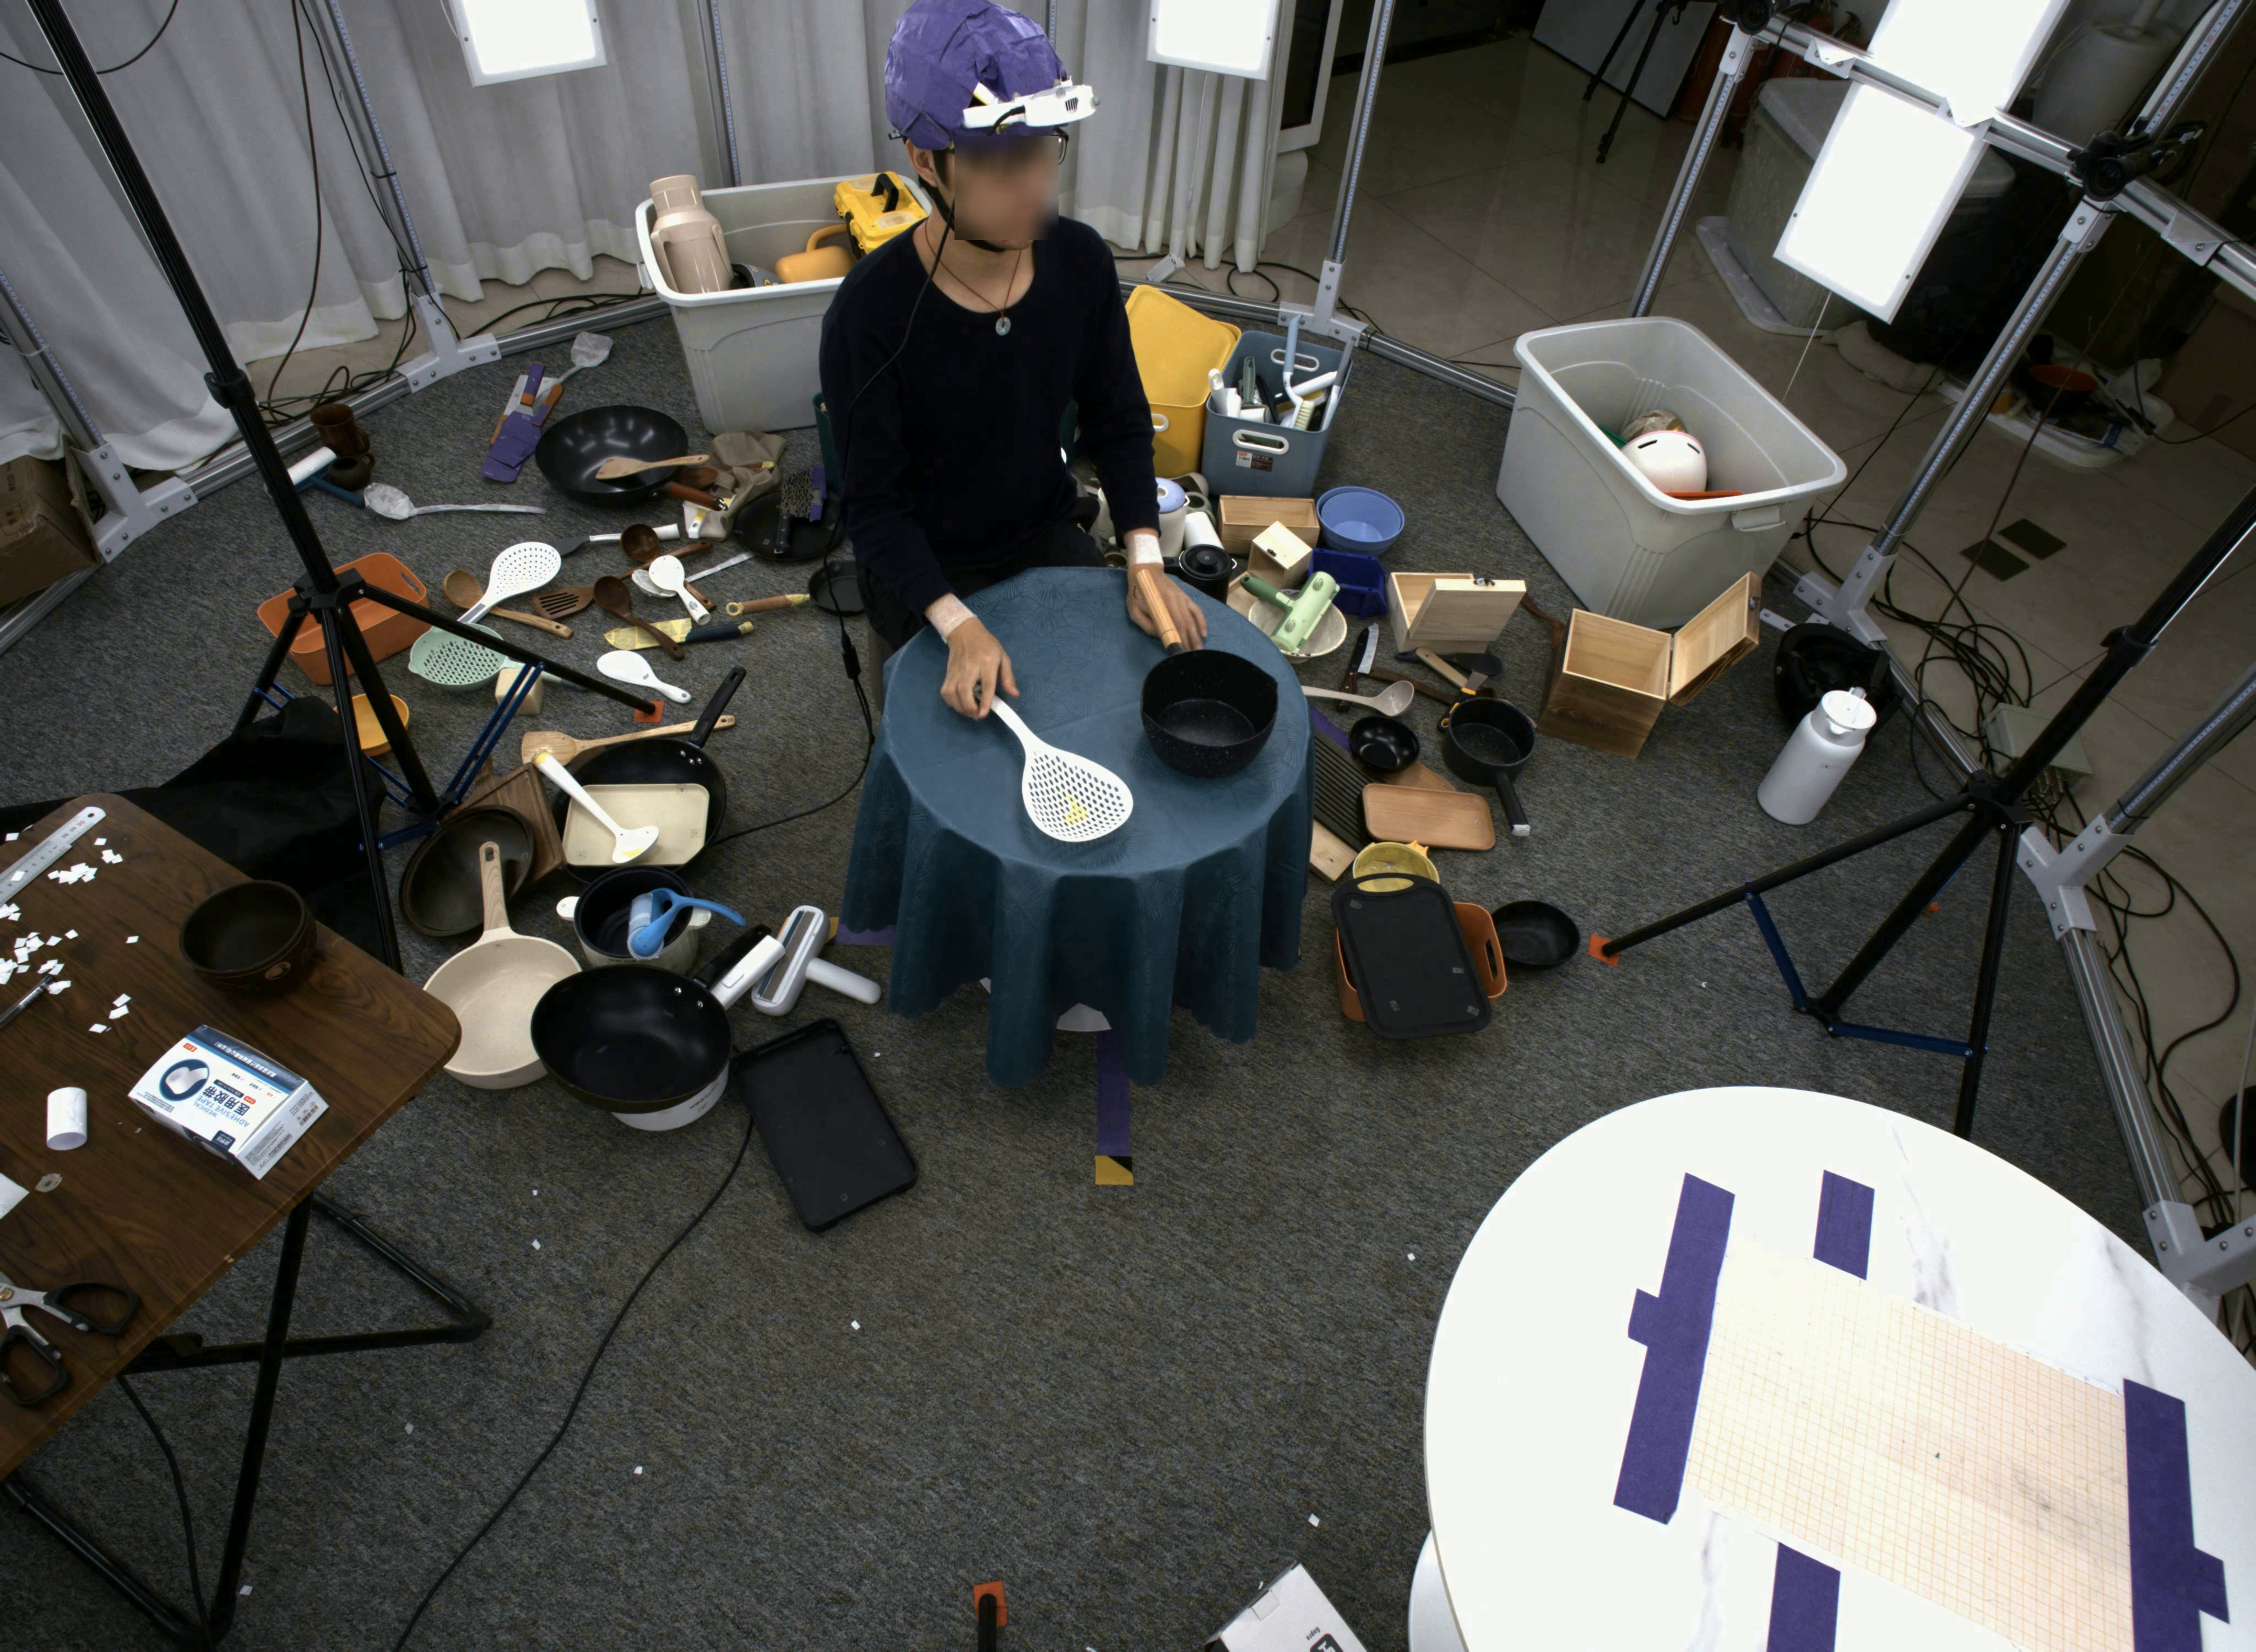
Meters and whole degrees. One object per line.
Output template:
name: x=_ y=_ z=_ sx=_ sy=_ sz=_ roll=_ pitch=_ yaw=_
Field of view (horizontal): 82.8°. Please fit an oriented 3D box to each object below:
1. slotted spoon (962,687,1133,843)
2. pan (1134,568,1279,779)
slotted spoon: x=-0.125 y=-0.095 z=1.715 sx=0.137 sy=0.049 sz=0.355 roll=-26 pitch=57 yaw=-21
pan: x=0.078 y=-0.213 z=1.789 sx=0.207 sy=0.105 sz=0.351 roll=-16 pitch=53 yaw=-16
